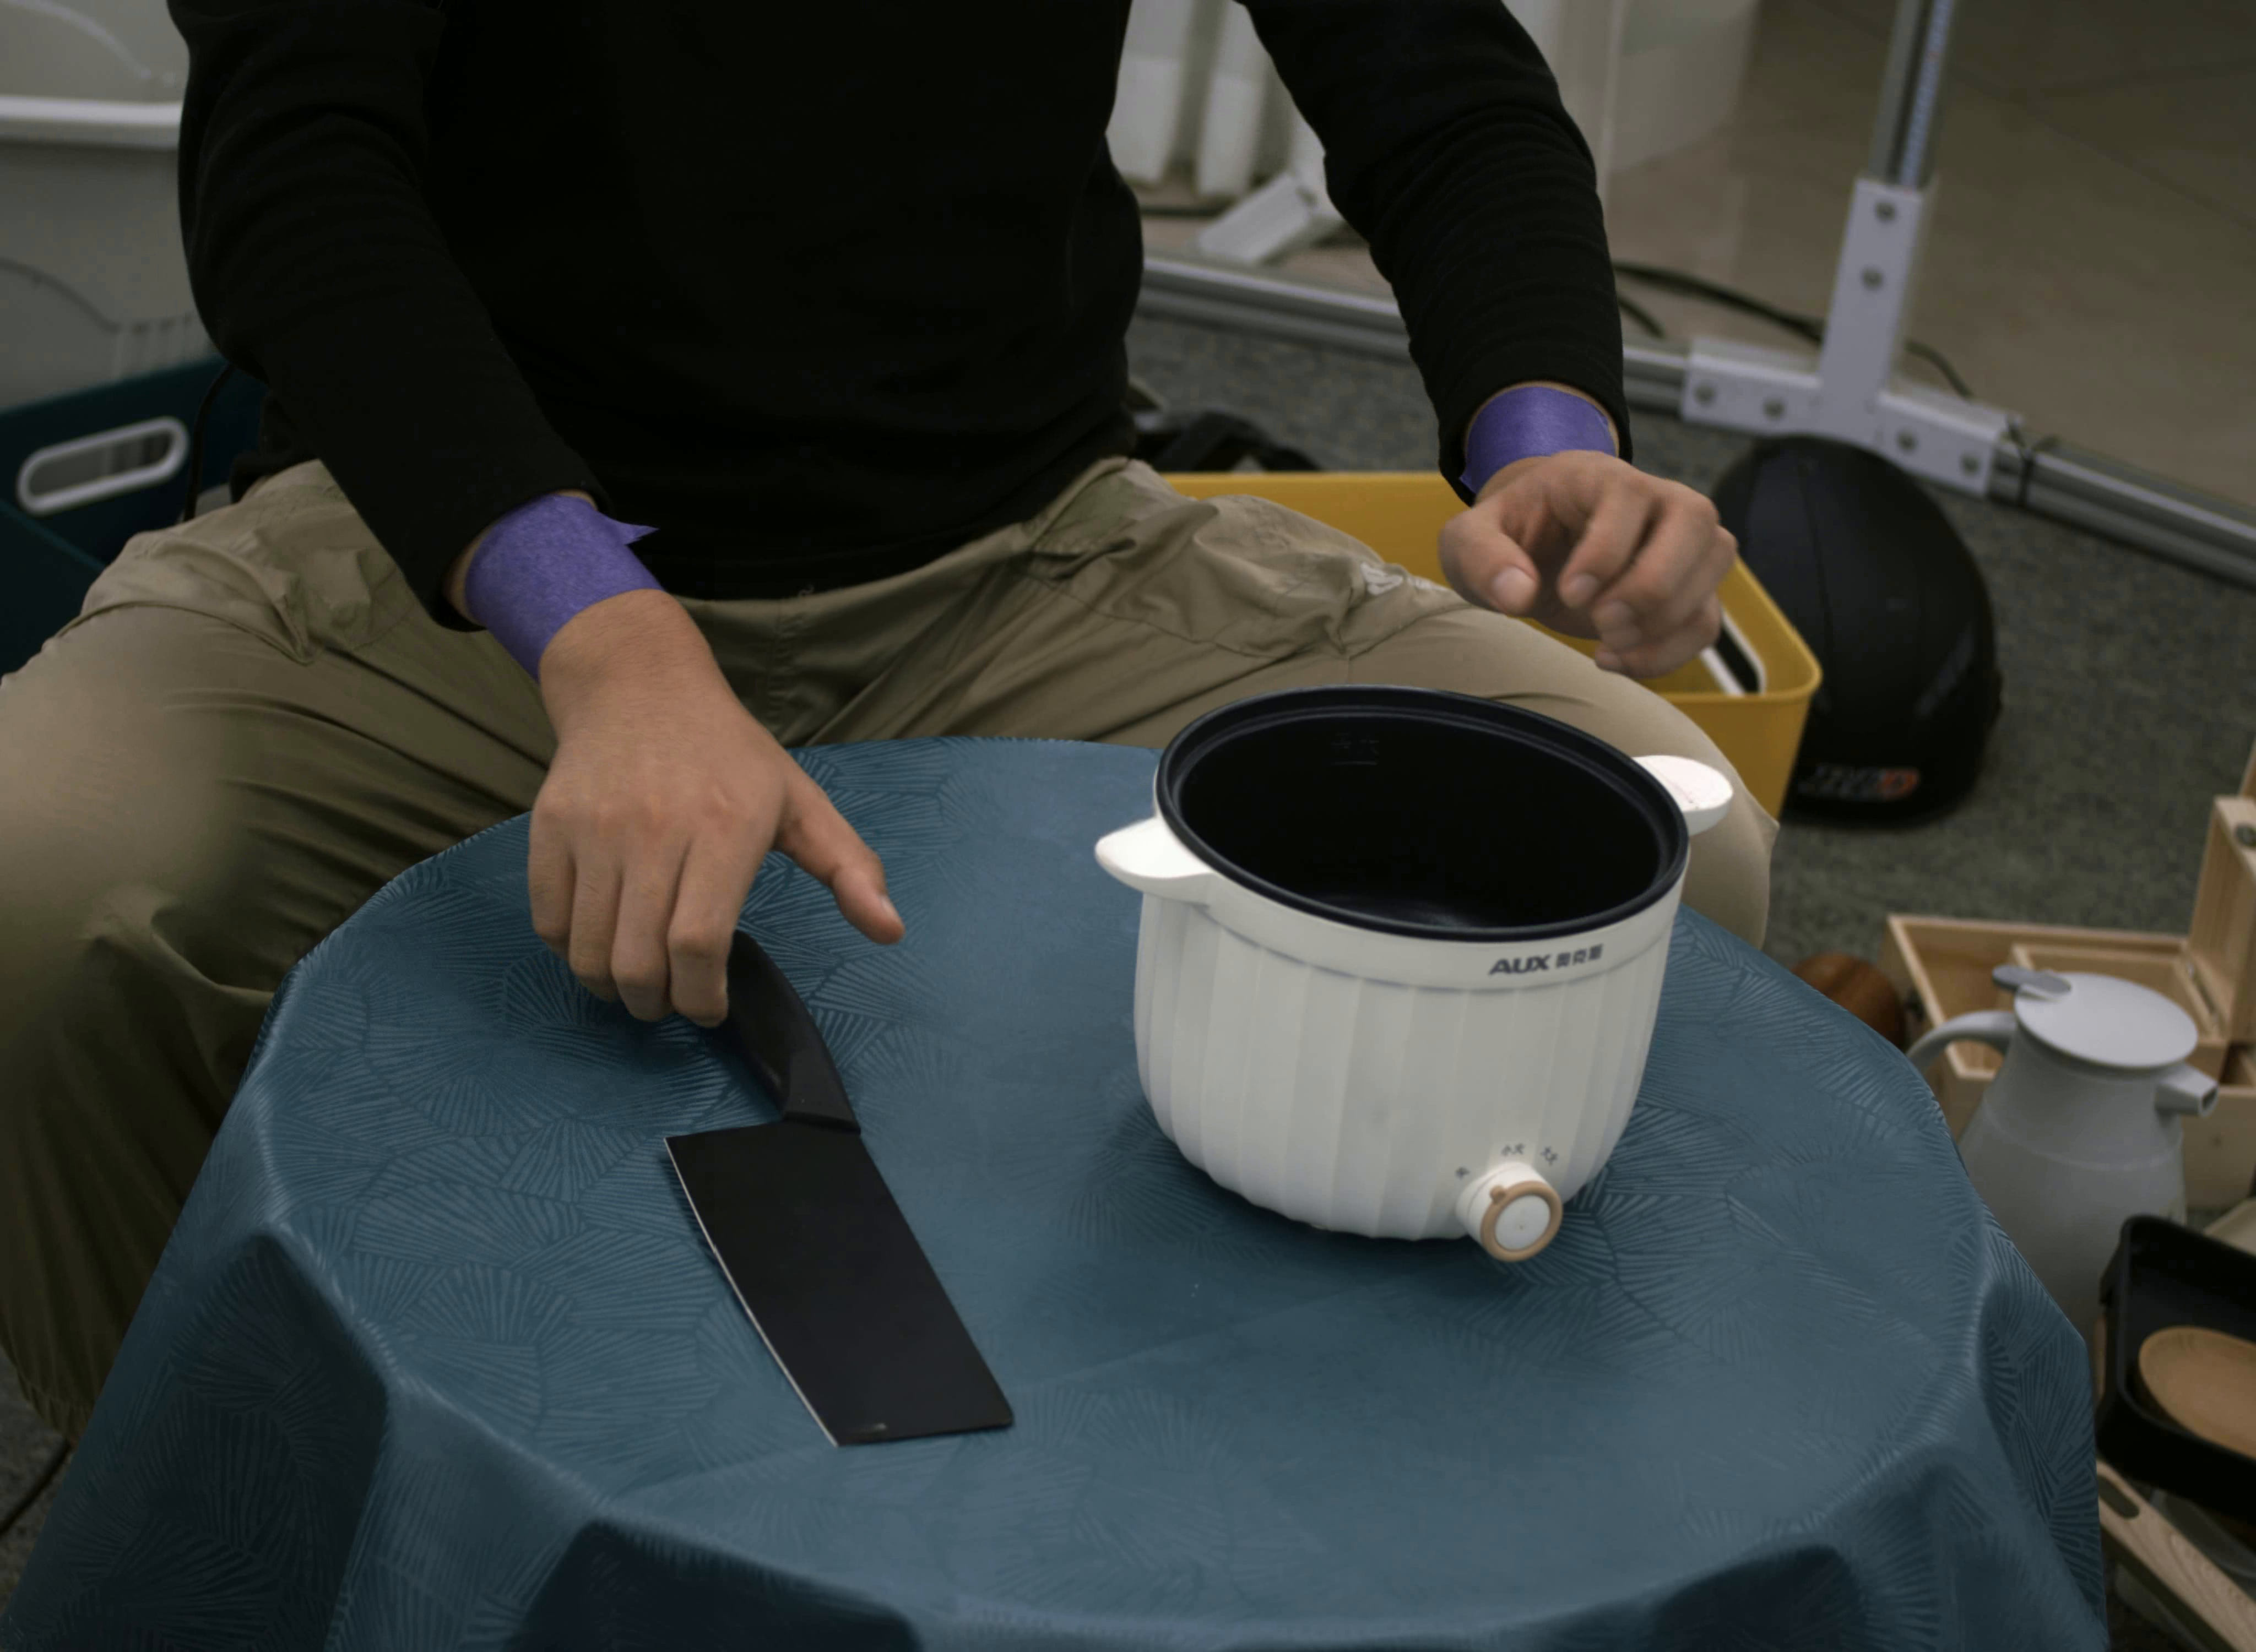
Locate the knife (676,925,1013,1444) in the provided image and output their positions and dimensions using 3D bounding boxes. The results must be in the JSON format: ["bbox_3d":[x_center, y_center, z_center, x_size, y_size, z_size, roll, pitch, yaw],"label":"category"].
[{"bbox_3d":[-0.110,0.116,1.780,0.080,0.021,0.305,-3,30,-15],"label":"knife"}]

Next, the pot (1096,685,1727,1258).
[{"bbox_3d":[0.095,0.053,1.814,0.239,0.142,0.192,-8,27,-25],"label":"pot"}]
